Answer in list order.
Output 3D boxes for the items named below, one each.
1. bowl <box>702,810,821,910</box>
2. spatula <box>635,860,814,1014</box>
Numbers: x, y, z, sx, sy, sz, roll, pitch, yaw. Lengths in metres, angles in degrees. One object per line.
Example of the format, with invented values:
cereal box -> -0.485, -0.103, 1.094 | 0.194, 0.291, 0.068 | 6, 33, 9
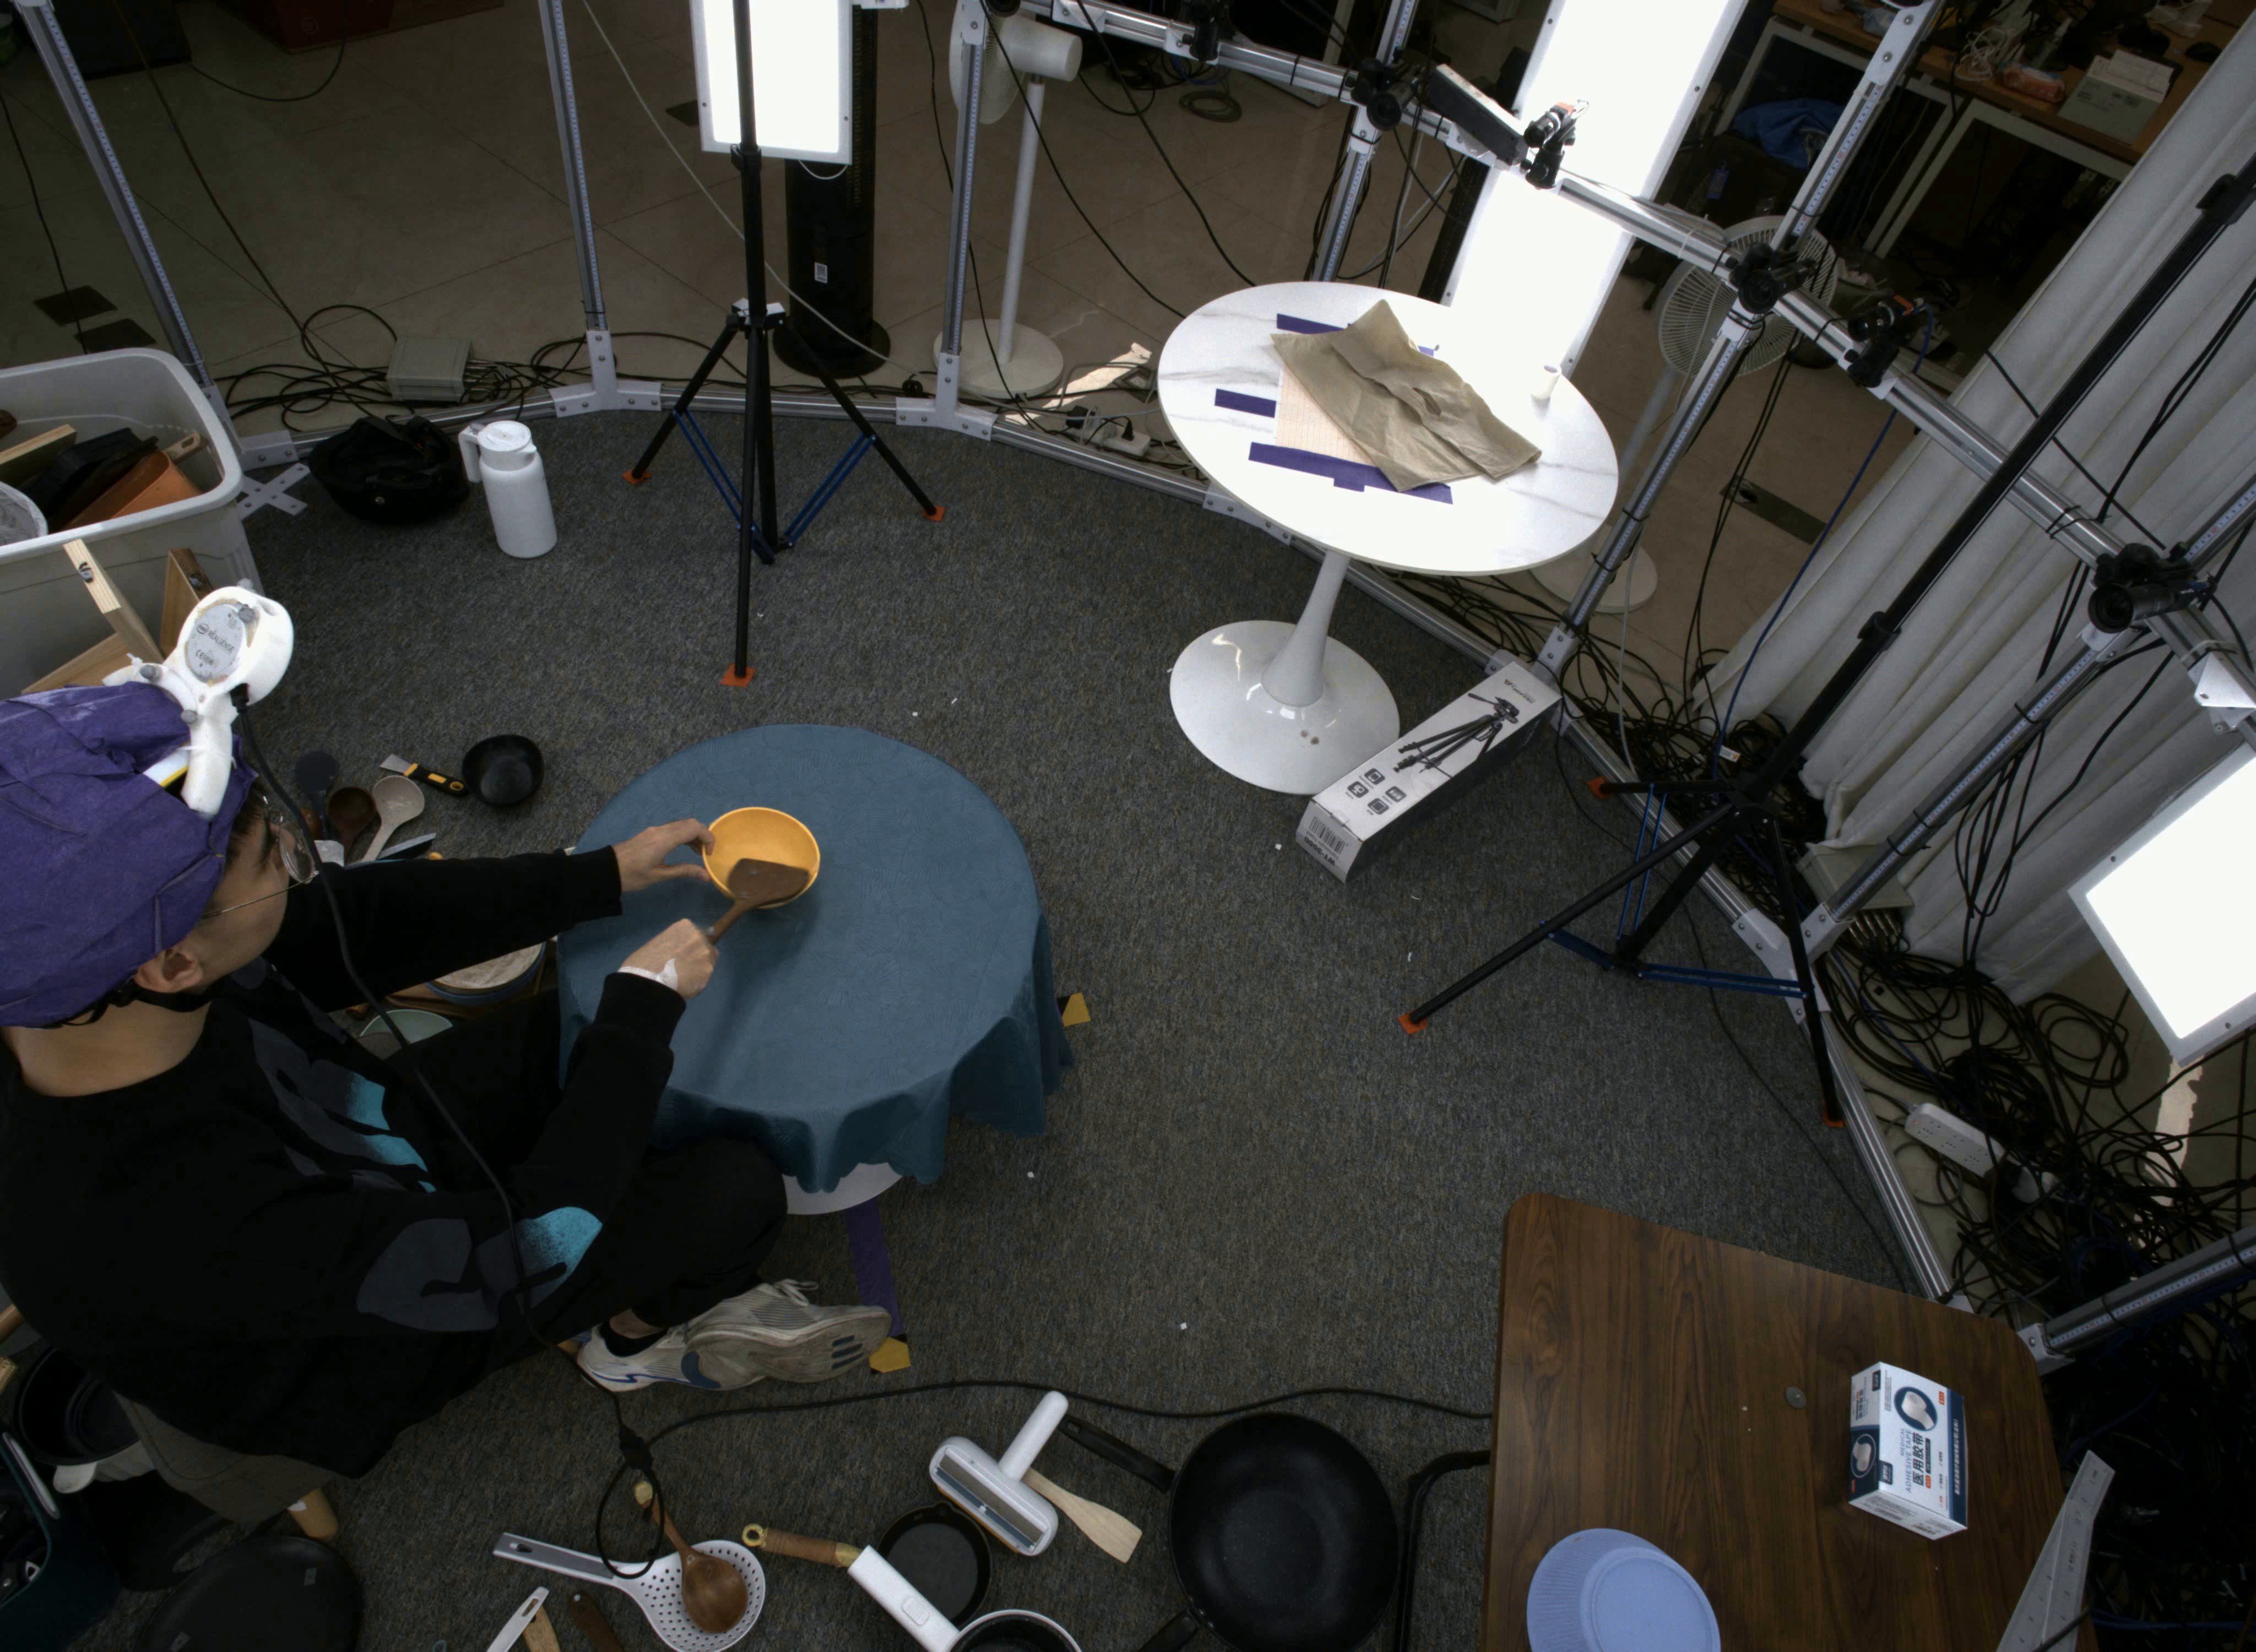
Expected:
bowl -> -0.462, 0.052, 1.624 | 0.146, 0.061, 0.142 | 14, 48, -14
spatula -> -0.457, 0.114, 1.447 | 0.095, 0.016, 0.382 | 13, 21, 3
